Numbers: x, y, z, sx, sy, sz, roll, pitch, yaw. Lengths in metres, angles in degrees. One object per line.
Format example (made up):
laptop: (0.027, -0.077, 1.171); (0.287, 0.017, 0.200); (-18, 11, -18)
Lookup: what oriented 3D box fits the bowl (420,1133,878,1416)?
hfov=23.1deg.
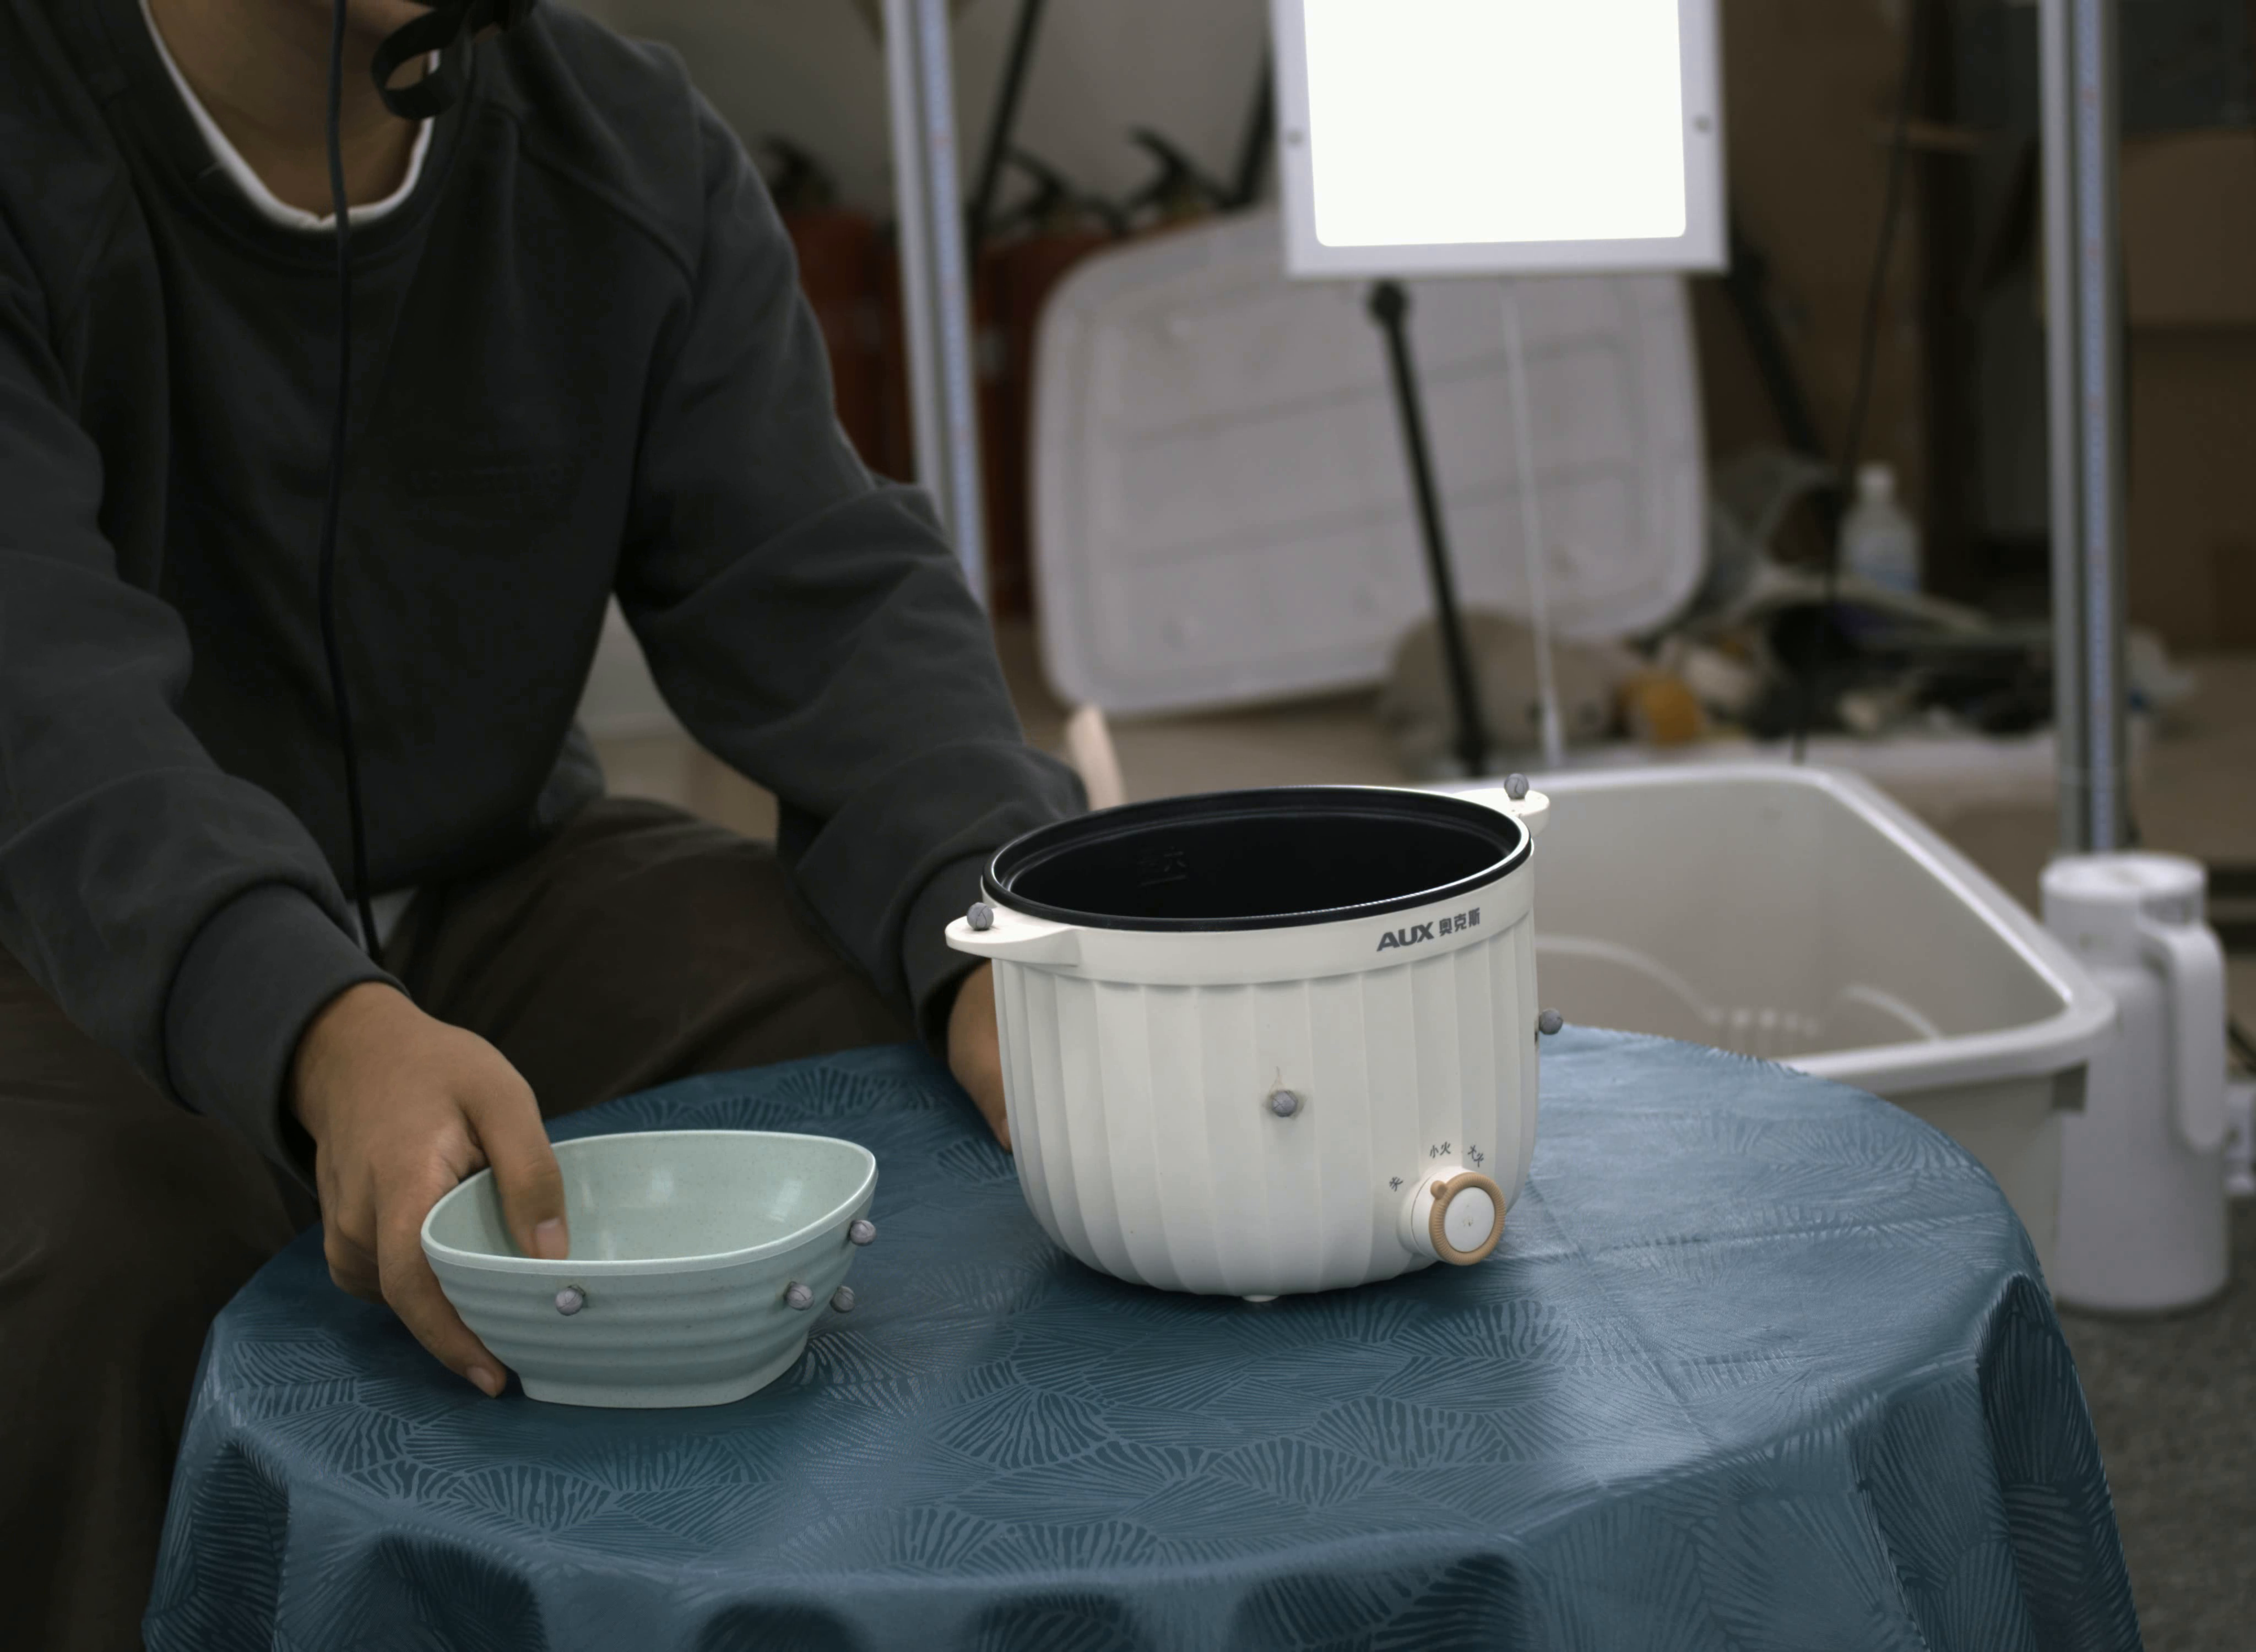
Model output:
bowl: (-0.150, 0.146, 1.757); (0.151, 0.059, 0.151); (-4, 14, 0)

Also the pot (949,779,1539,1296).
pot: (0.051, 0.071, 1.811); (0.234, 0.143, 0.194); (-16, 14, -34)
